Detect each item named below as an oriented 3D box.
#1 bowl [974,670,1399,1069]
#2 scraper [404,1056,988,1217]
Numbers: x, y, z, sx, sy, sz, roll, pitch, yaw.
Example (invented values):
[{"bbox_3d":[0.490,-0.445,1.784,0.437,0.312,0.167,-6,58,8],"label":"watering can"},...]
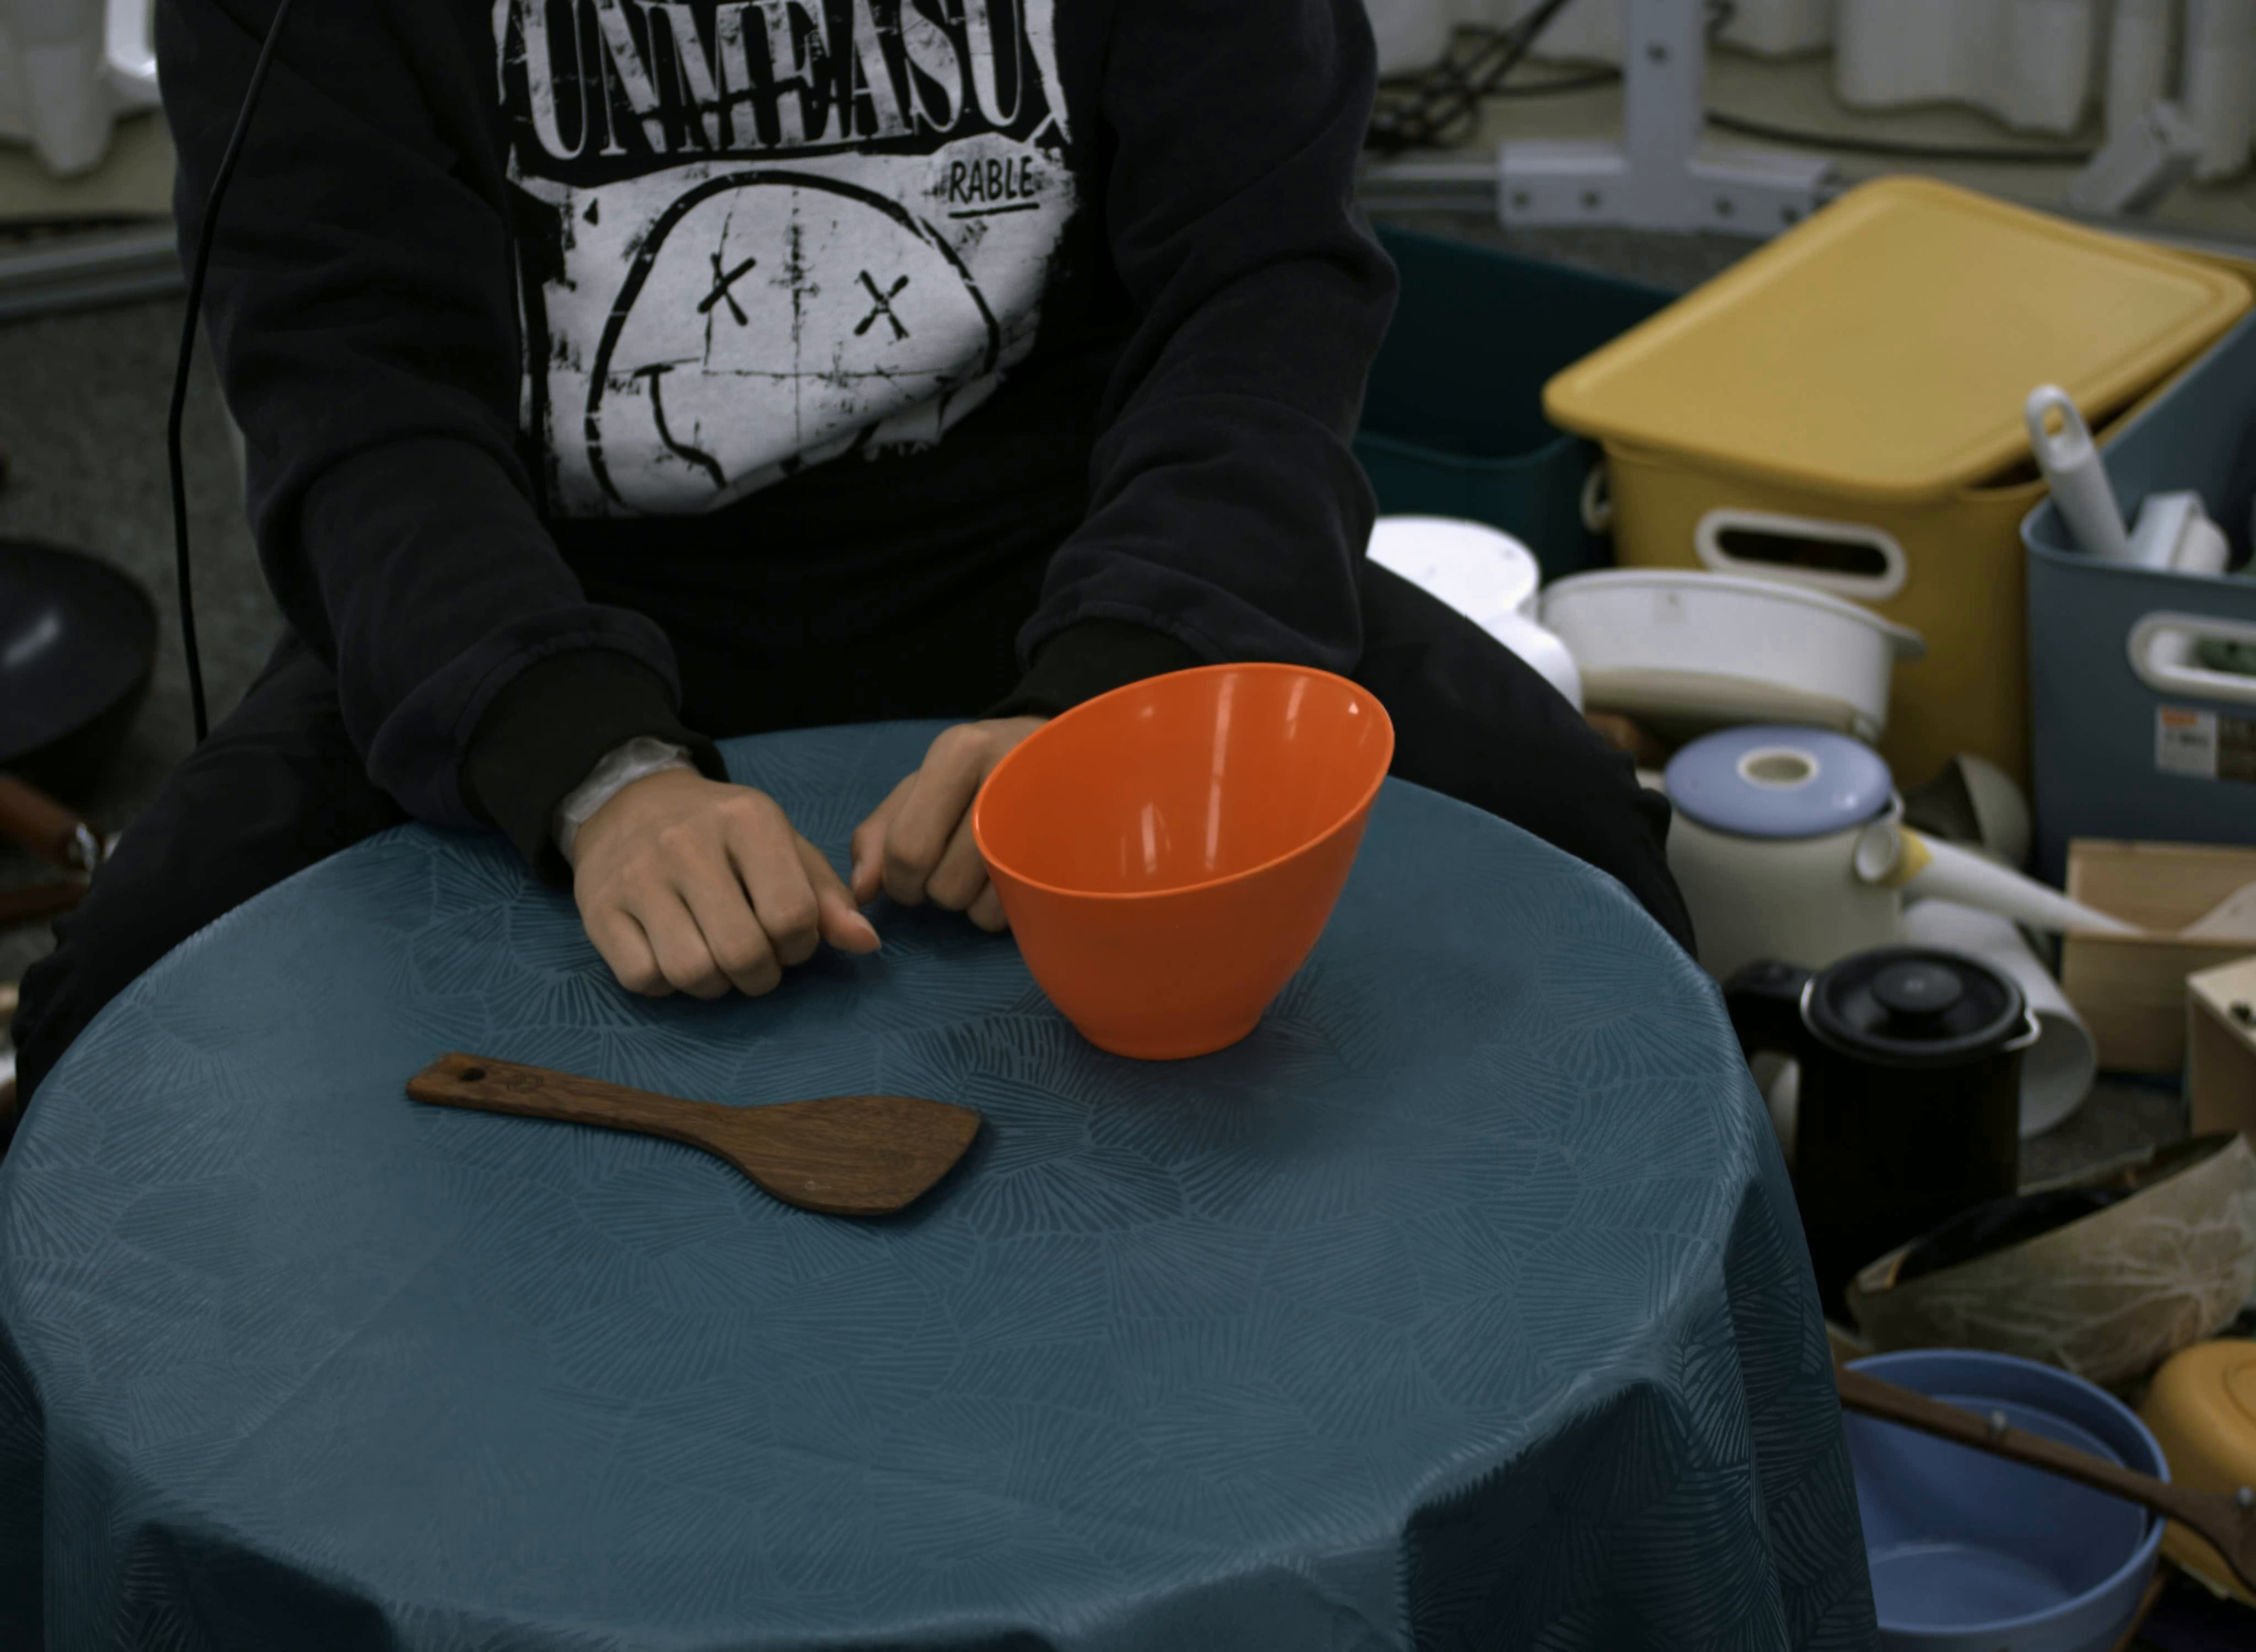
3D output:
[{"bbox_3d":[0.022,0.021,1.946,0.147,0.103,0.150,-2,27,2],"label":"bowl"},{"bbox_3d":[-0.151,0.101,1.908,0.210,0.011,0.077,8,28,22],"label":"scraper"}]
